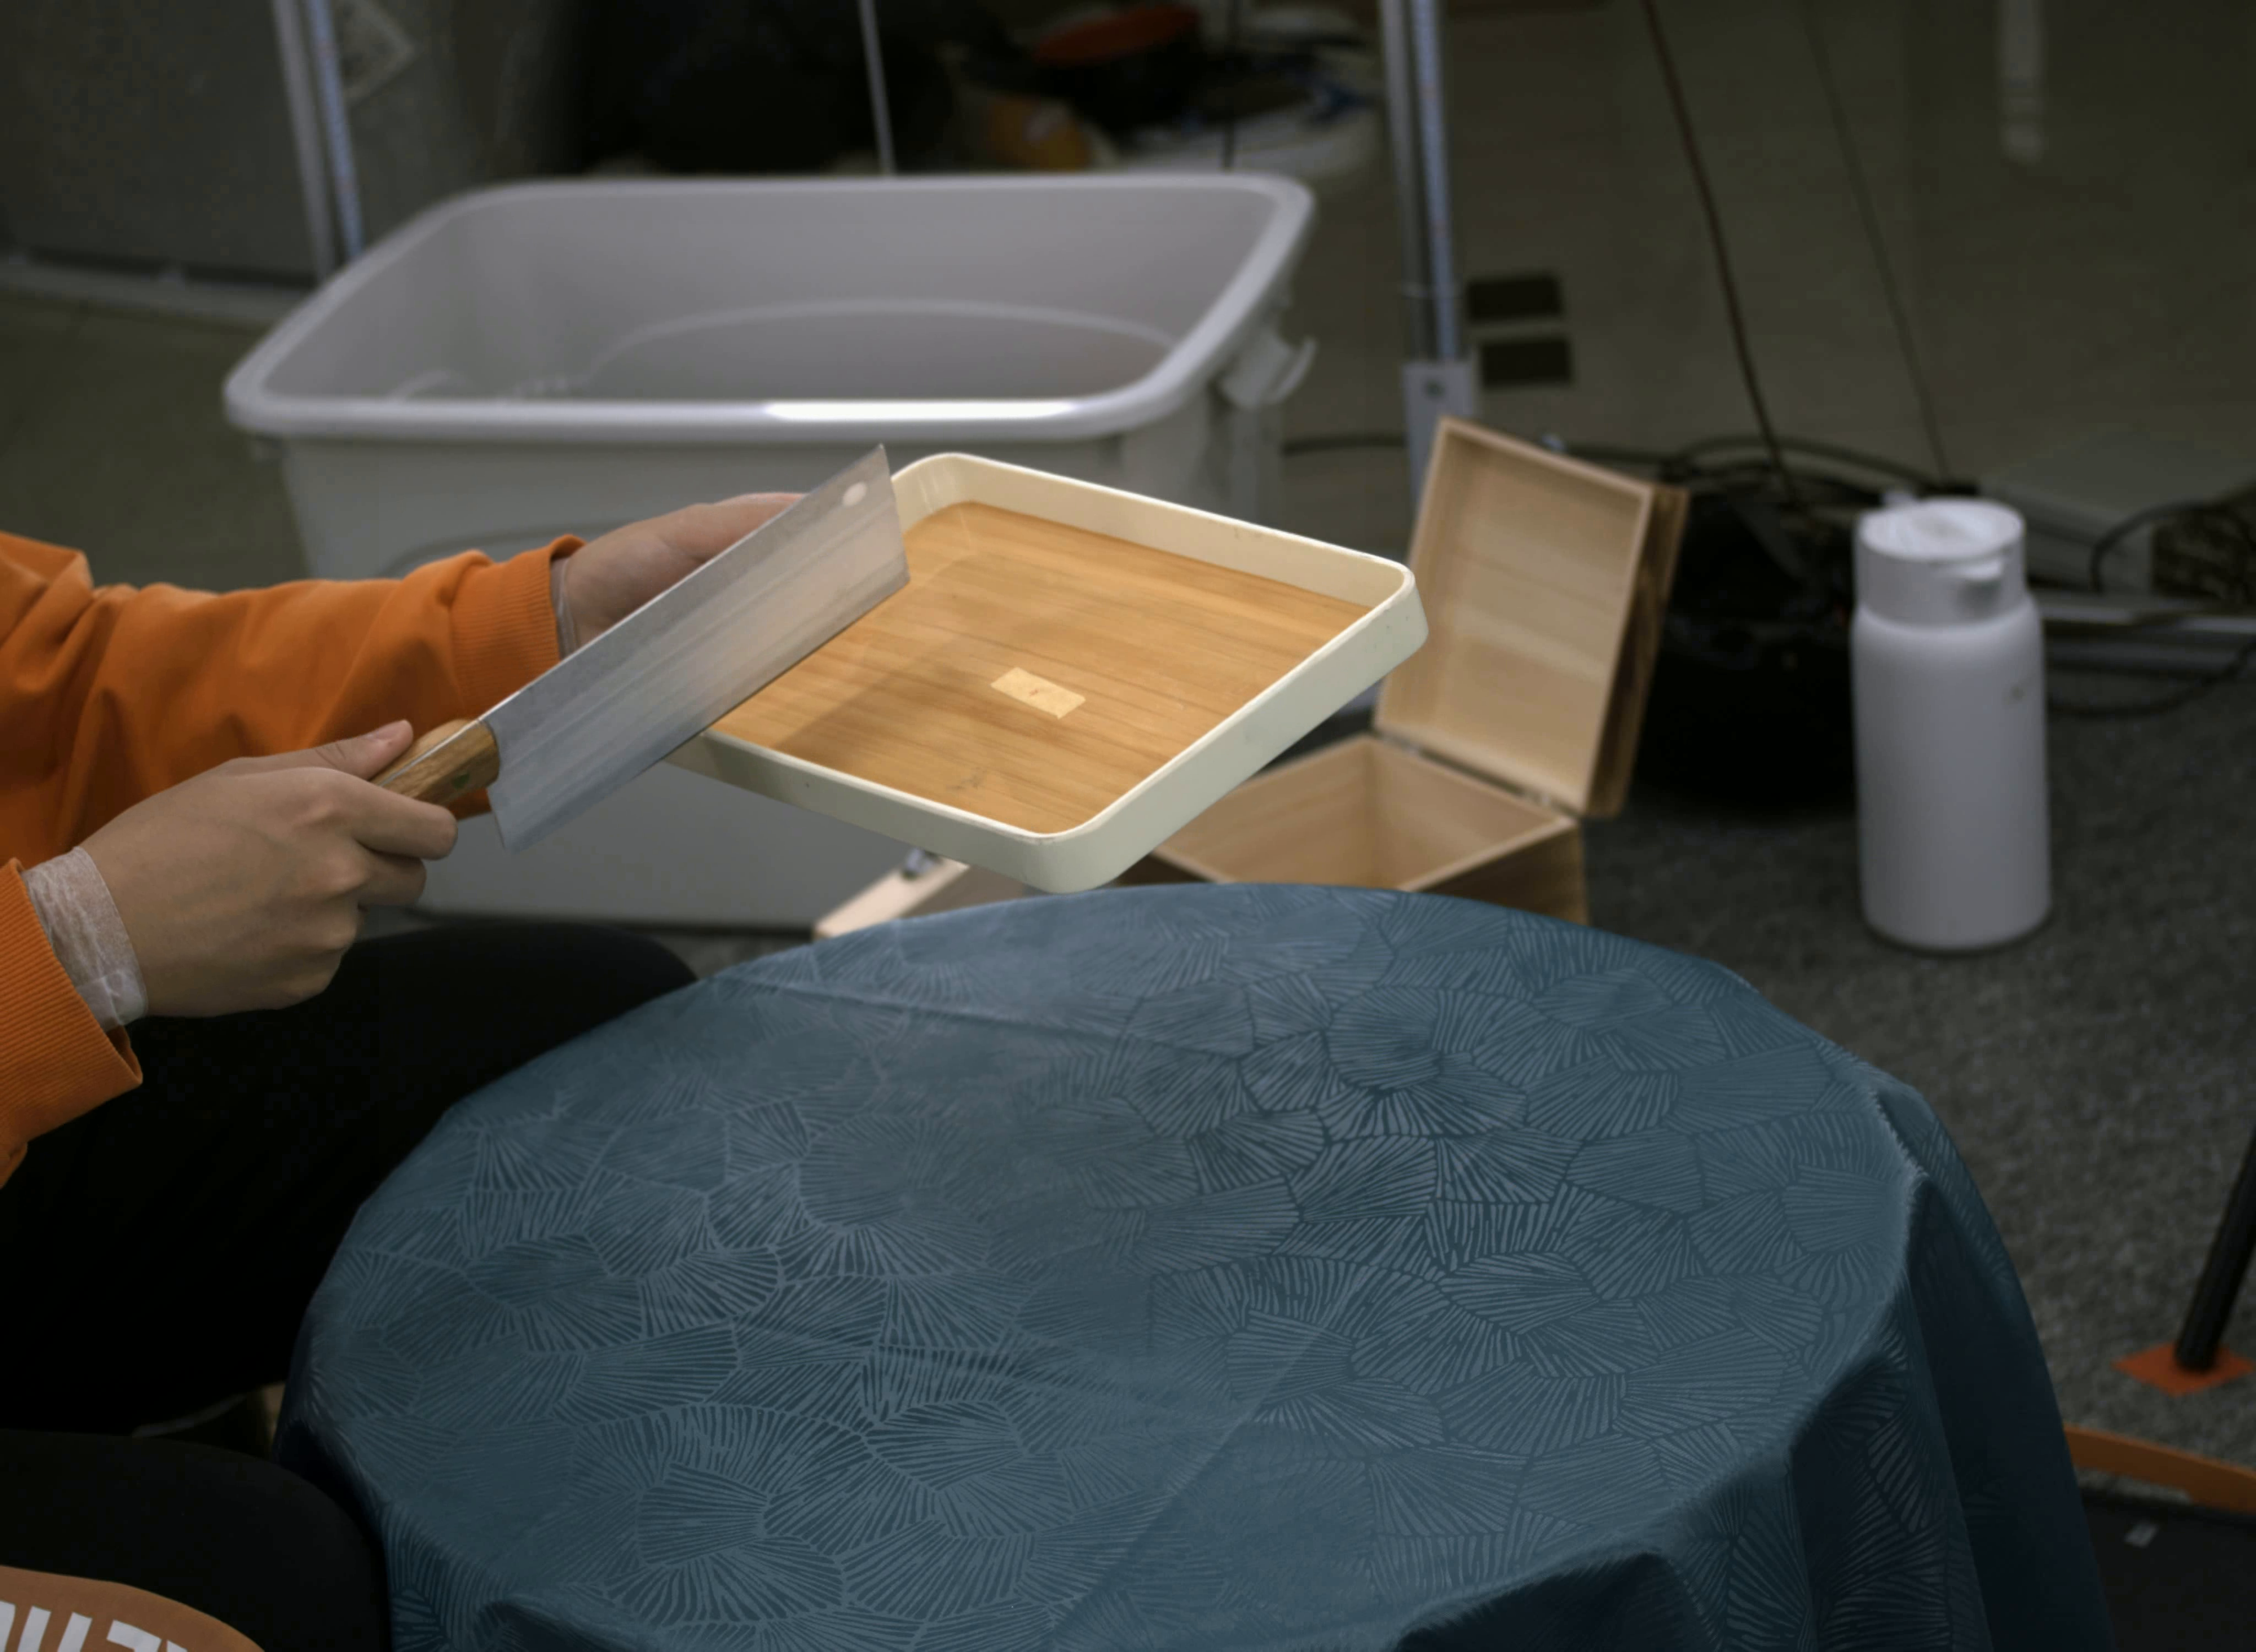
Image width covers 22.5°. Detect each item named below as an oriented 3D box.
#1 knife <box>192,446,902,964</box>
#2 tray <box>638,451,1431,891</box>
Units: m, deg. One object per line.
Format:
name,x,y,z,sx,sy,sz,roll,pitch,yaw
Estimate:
knife,-0.205,-0.033,2.065,0.304,0.094,0.021,-36,62,-15
tray,-0.046,-0.063,2.121,0.190,0.028,0.298,-37,33,-27
